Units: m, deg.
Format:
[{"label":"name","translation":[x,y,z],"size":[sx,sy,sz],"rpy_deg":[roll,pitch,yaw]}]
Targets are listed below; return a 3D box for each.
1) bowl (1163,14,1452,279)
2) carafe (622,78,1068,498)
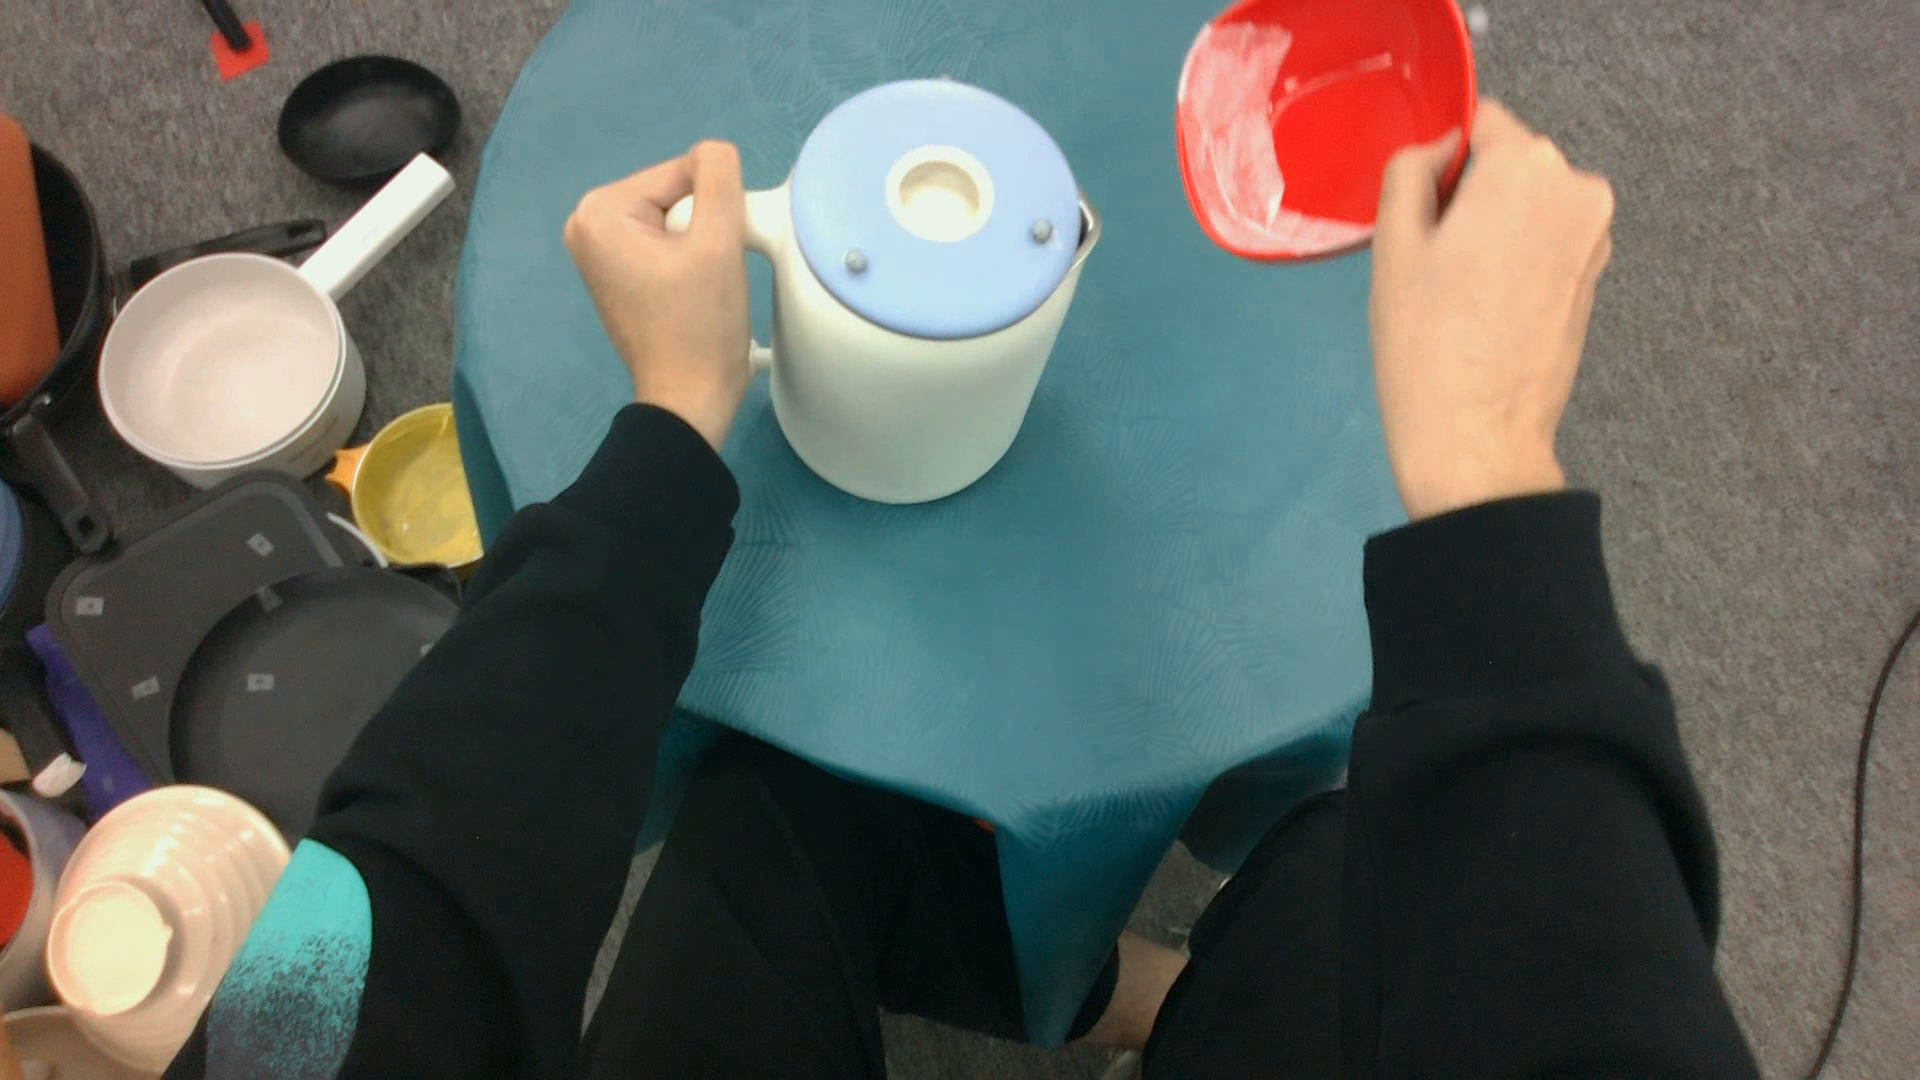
[{"label":"bowl","translation":[0.141,-0.151,0.561],"size":[0.119,0.051,0.119],"rpy_deg":[-5,72,16]},{"label":"carafe","translation":[-0.058,-0.109,0.631],"size":[0.191,0.182,0.132],"rpy_deg":[1,68,-6]}]
